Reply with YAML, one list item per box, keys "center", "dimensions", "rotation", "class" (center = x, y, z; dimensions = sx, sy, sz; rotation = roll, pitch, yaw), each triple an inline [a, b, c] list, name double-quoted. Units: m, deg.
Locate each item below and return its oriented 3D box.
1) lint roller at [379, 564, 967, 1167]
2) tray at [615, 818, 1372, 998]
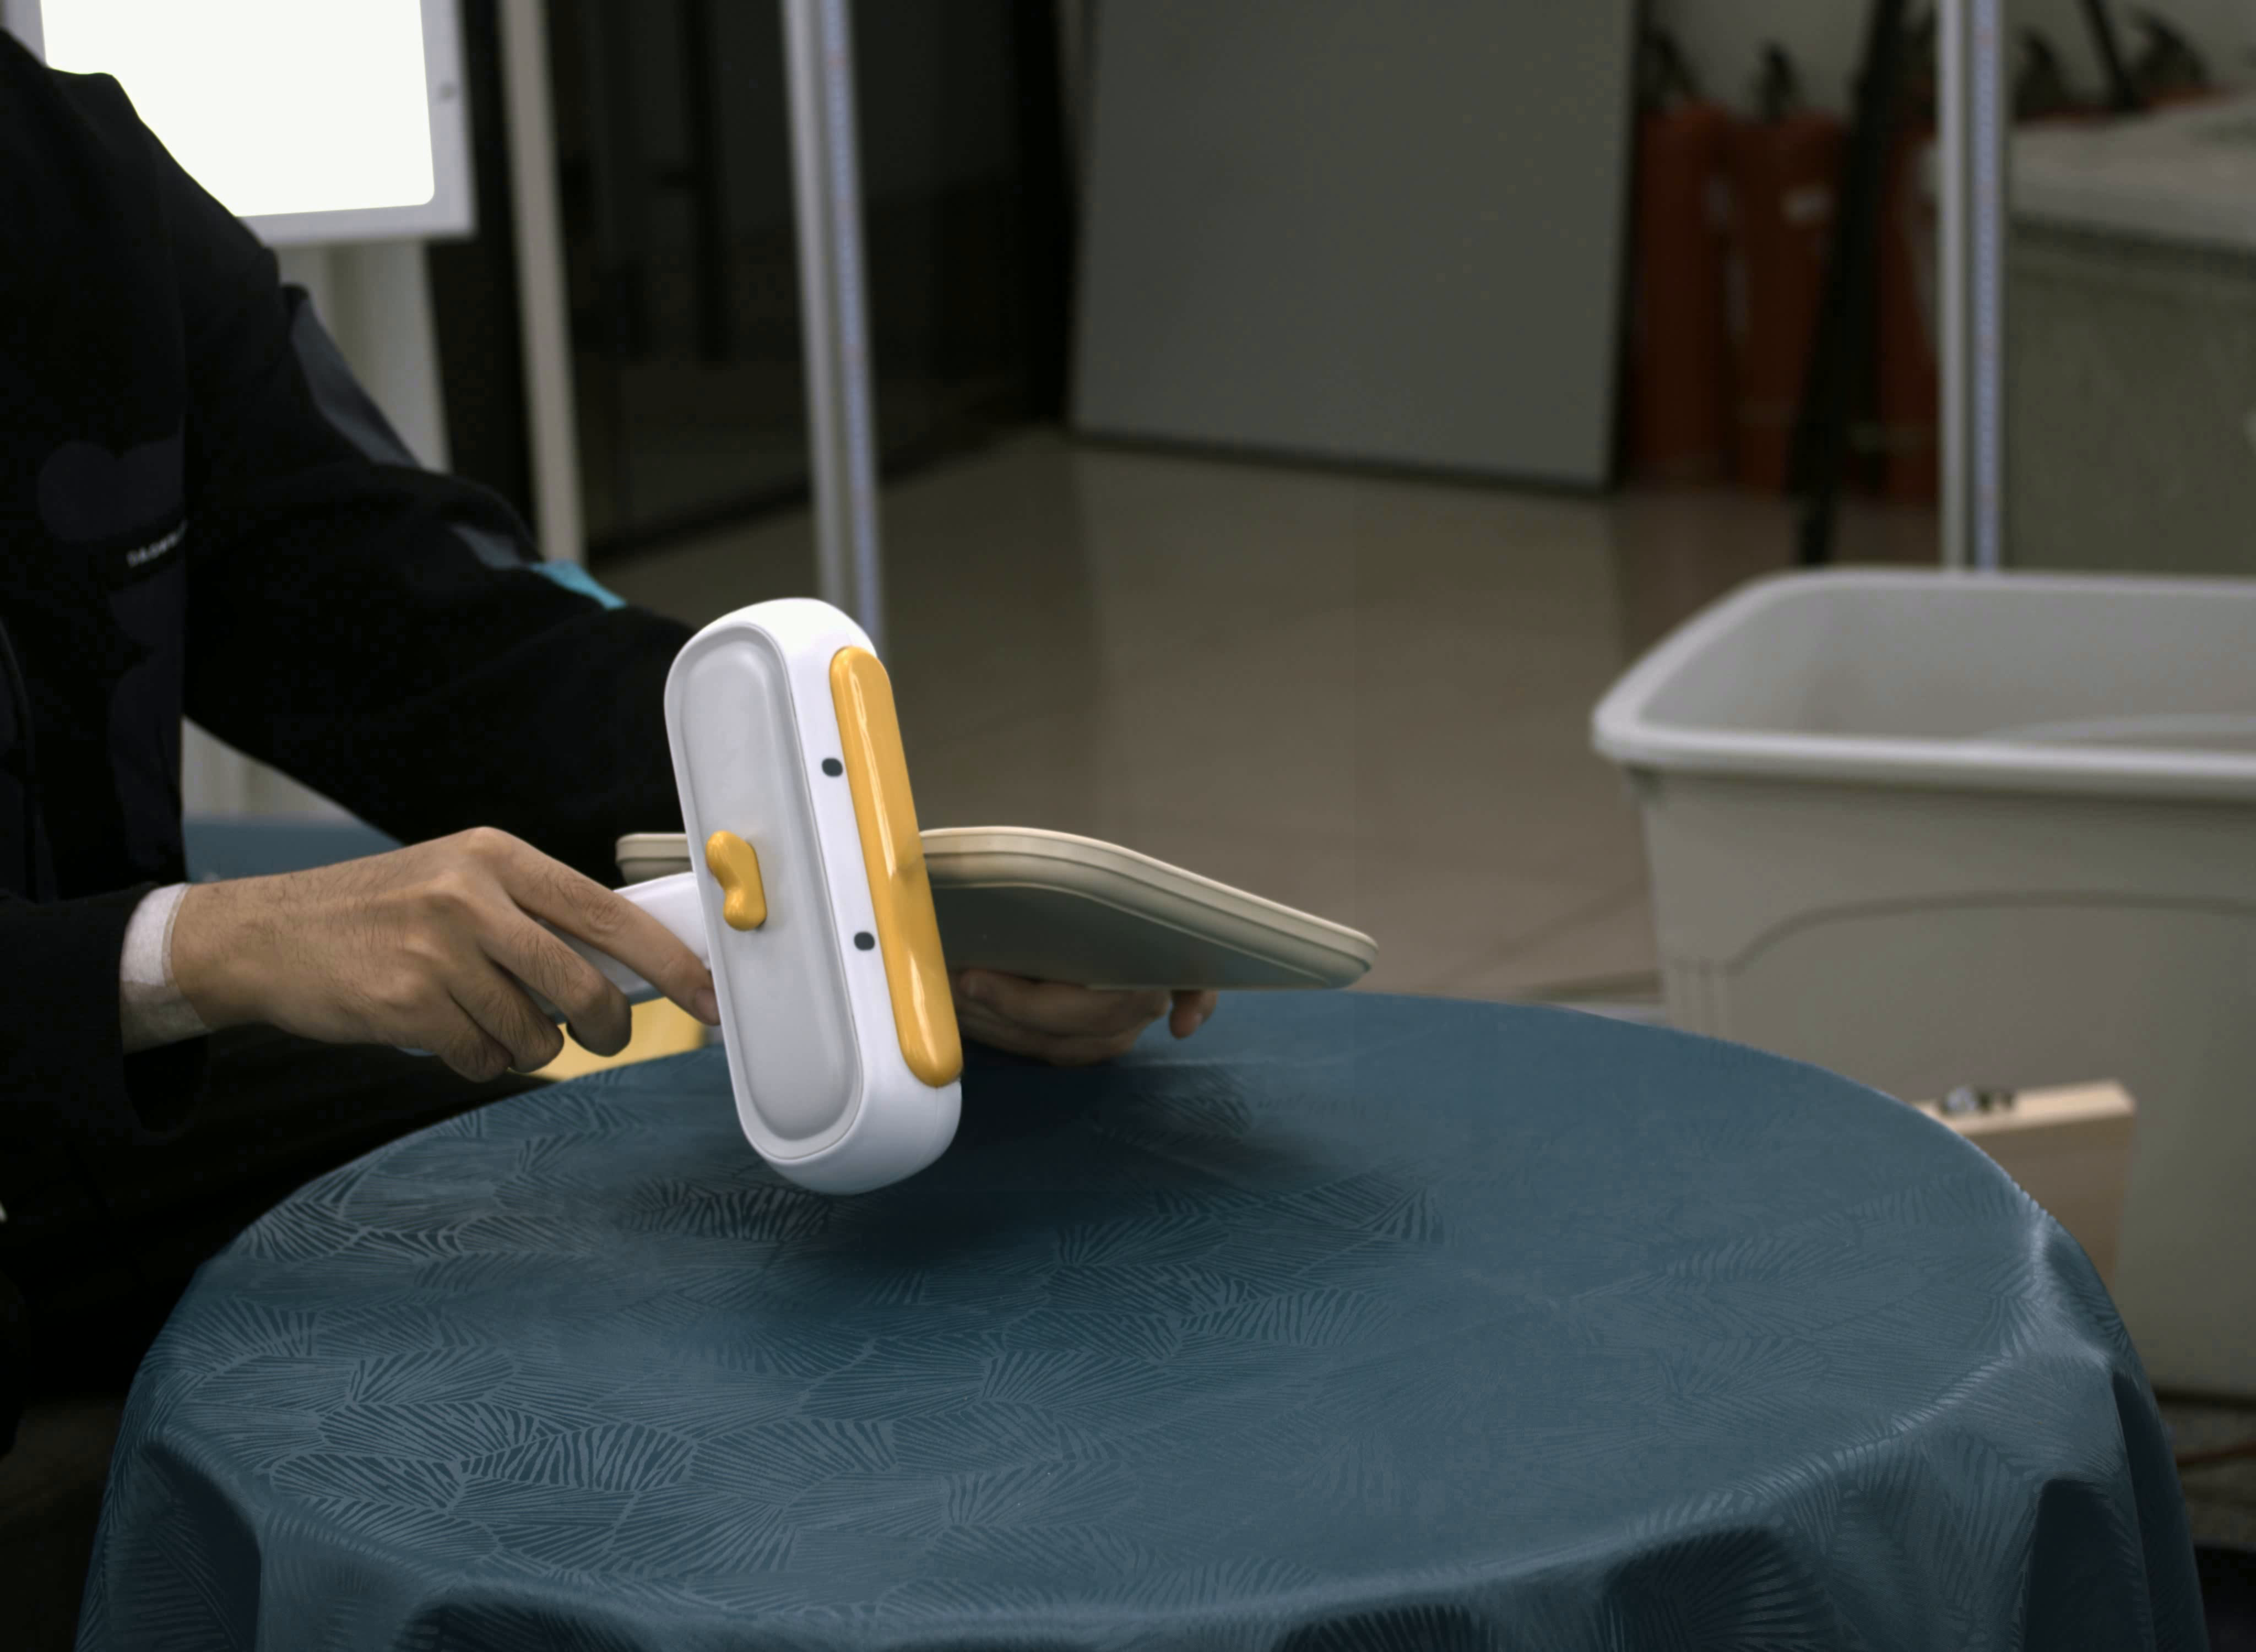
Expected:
- center: [-0.152, 0.034, 1.728]
  dimensions: [0.193, 0.195, 0.073]
  rotation: [-25, -14, 27]
  class: "lint roller"
- center: [-0.048, 0.031, 1.805]
  dimensions: [0.168, 0.018, 0.242]
  rotation: [20, -16, -40]
  class: "tray"
